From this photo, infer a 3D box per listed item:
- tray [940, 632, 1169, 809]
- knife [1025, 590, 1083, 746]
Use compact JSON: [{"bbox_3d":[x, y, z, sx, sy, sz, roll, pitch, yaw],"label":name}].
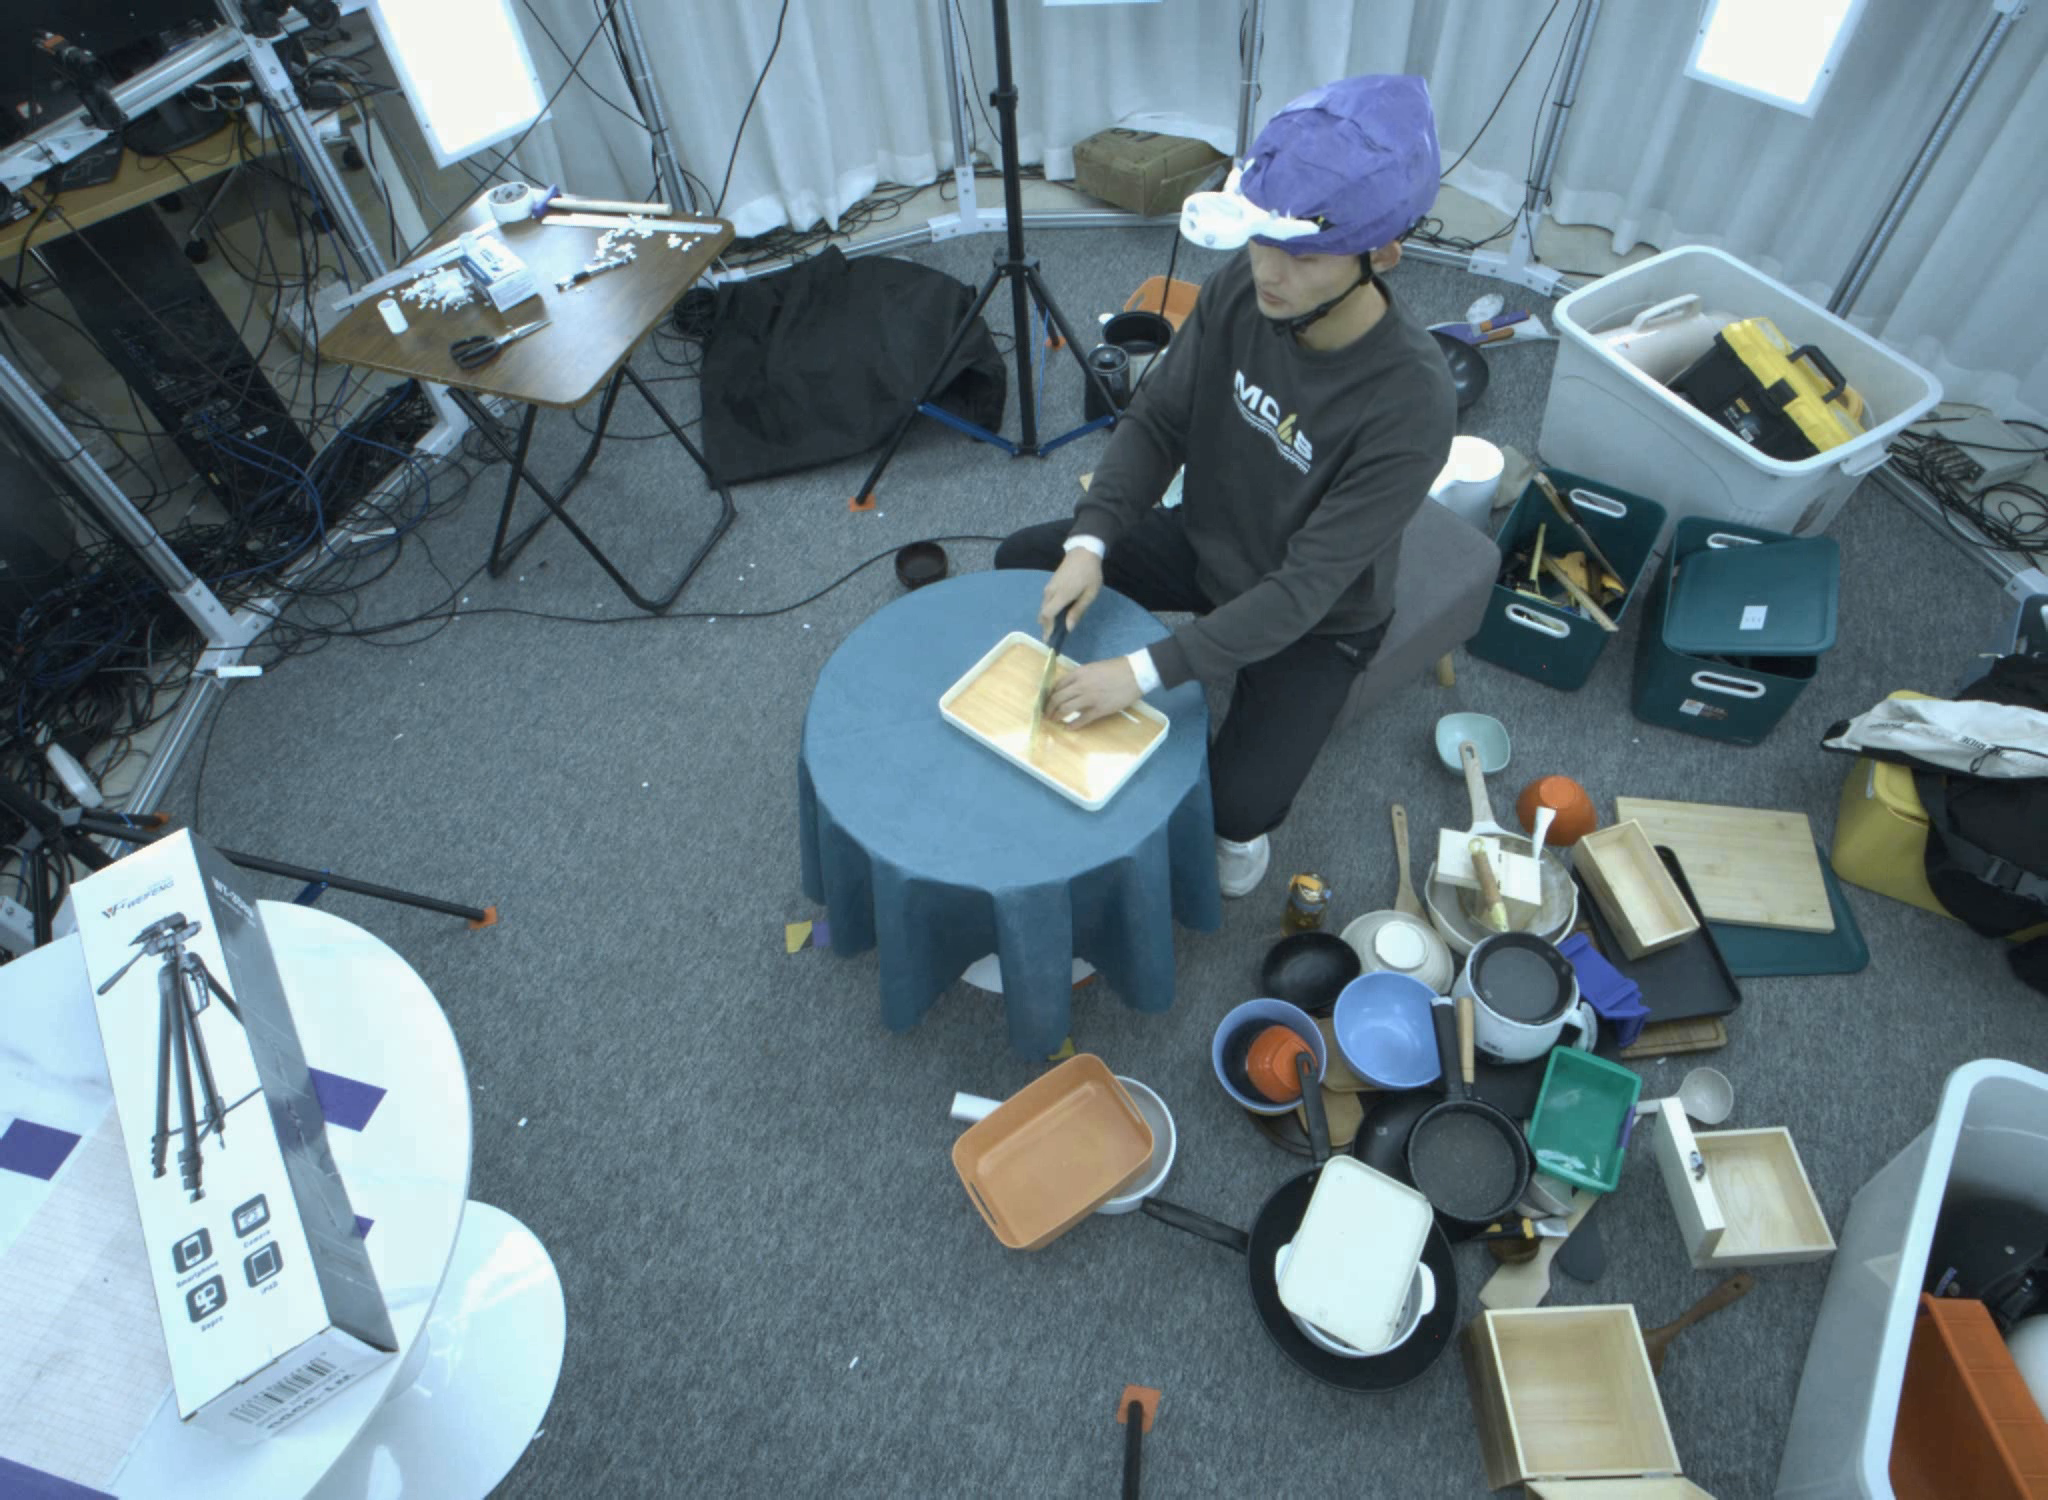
[{"bbox_3d":[0.043,-0.050,1.813,0.295,0.027,0.193,33,60,22],"label":"tray"},{"bbox_3d":[0.042,-0.122,1.826,0.027,0.082,0.288,12,57,10],"label":"knife"}]
